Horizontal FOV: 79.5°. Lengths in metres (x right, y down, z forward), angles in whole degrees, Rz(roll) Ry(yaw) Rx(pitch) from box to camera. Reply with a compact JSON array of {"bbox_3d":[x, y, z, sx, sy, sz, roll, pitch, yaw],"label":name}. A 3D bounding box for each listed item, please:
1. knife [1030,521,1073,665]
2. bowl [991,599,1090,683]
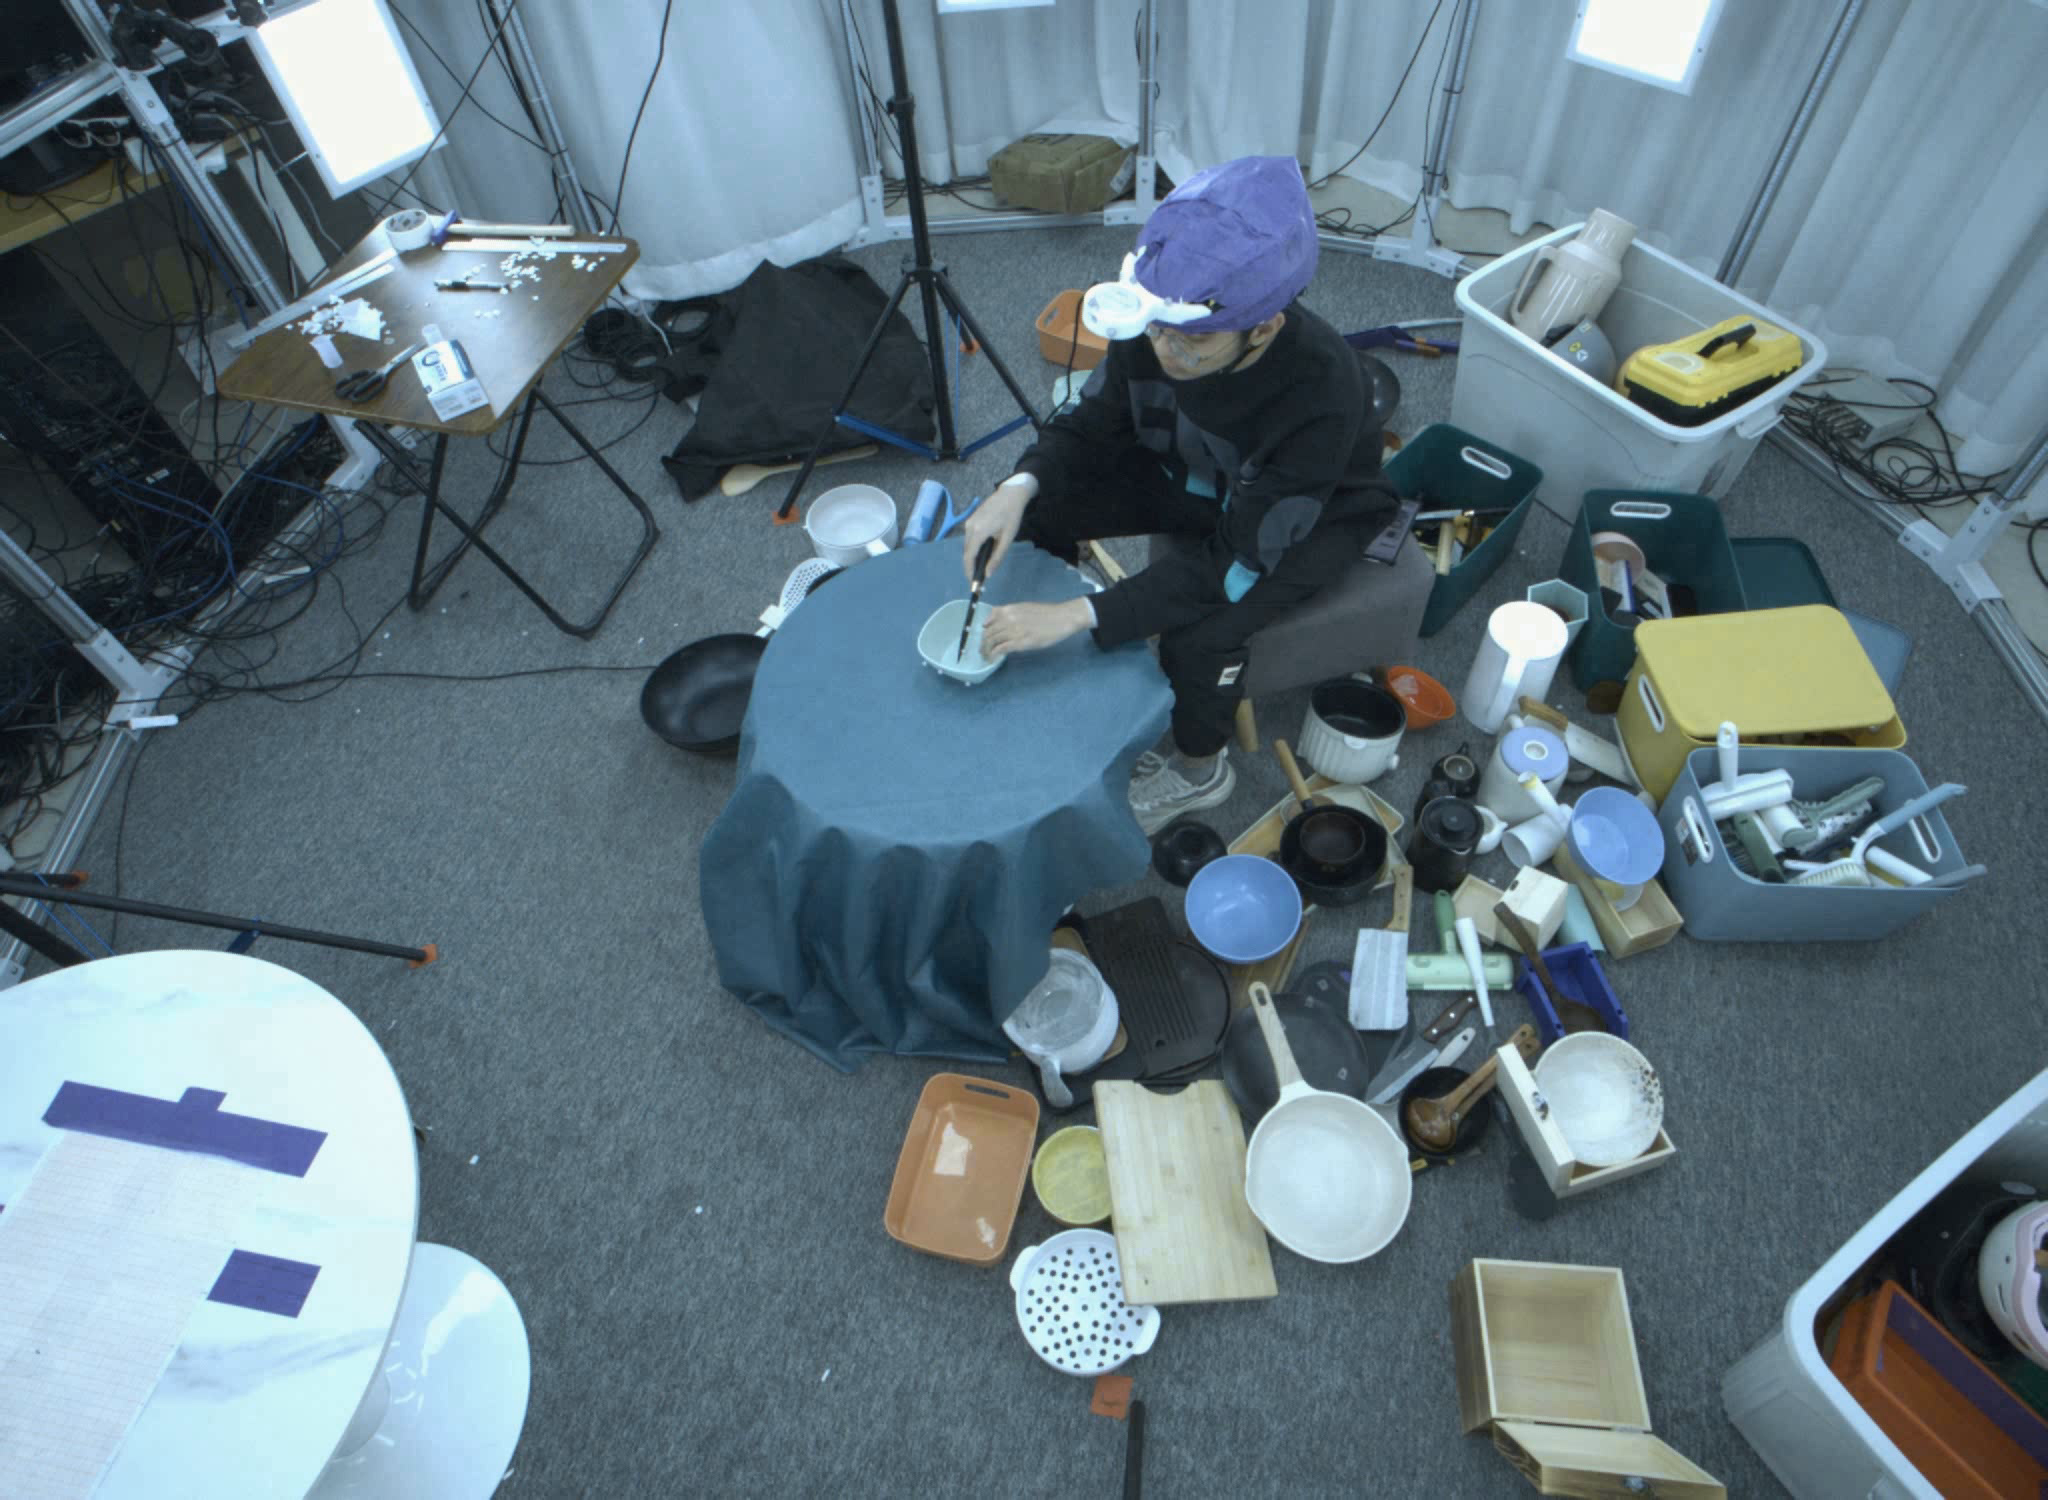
[{"bbox_3d":[0.038,-0.237,1.848,0.017,0.026,0.225,14,86,19],"label":"knife"},{"bbox_3d":[0.027,-0.156,1.862,0.151,0.059,0.150,-2,54,3],"label":"bowl"}]
